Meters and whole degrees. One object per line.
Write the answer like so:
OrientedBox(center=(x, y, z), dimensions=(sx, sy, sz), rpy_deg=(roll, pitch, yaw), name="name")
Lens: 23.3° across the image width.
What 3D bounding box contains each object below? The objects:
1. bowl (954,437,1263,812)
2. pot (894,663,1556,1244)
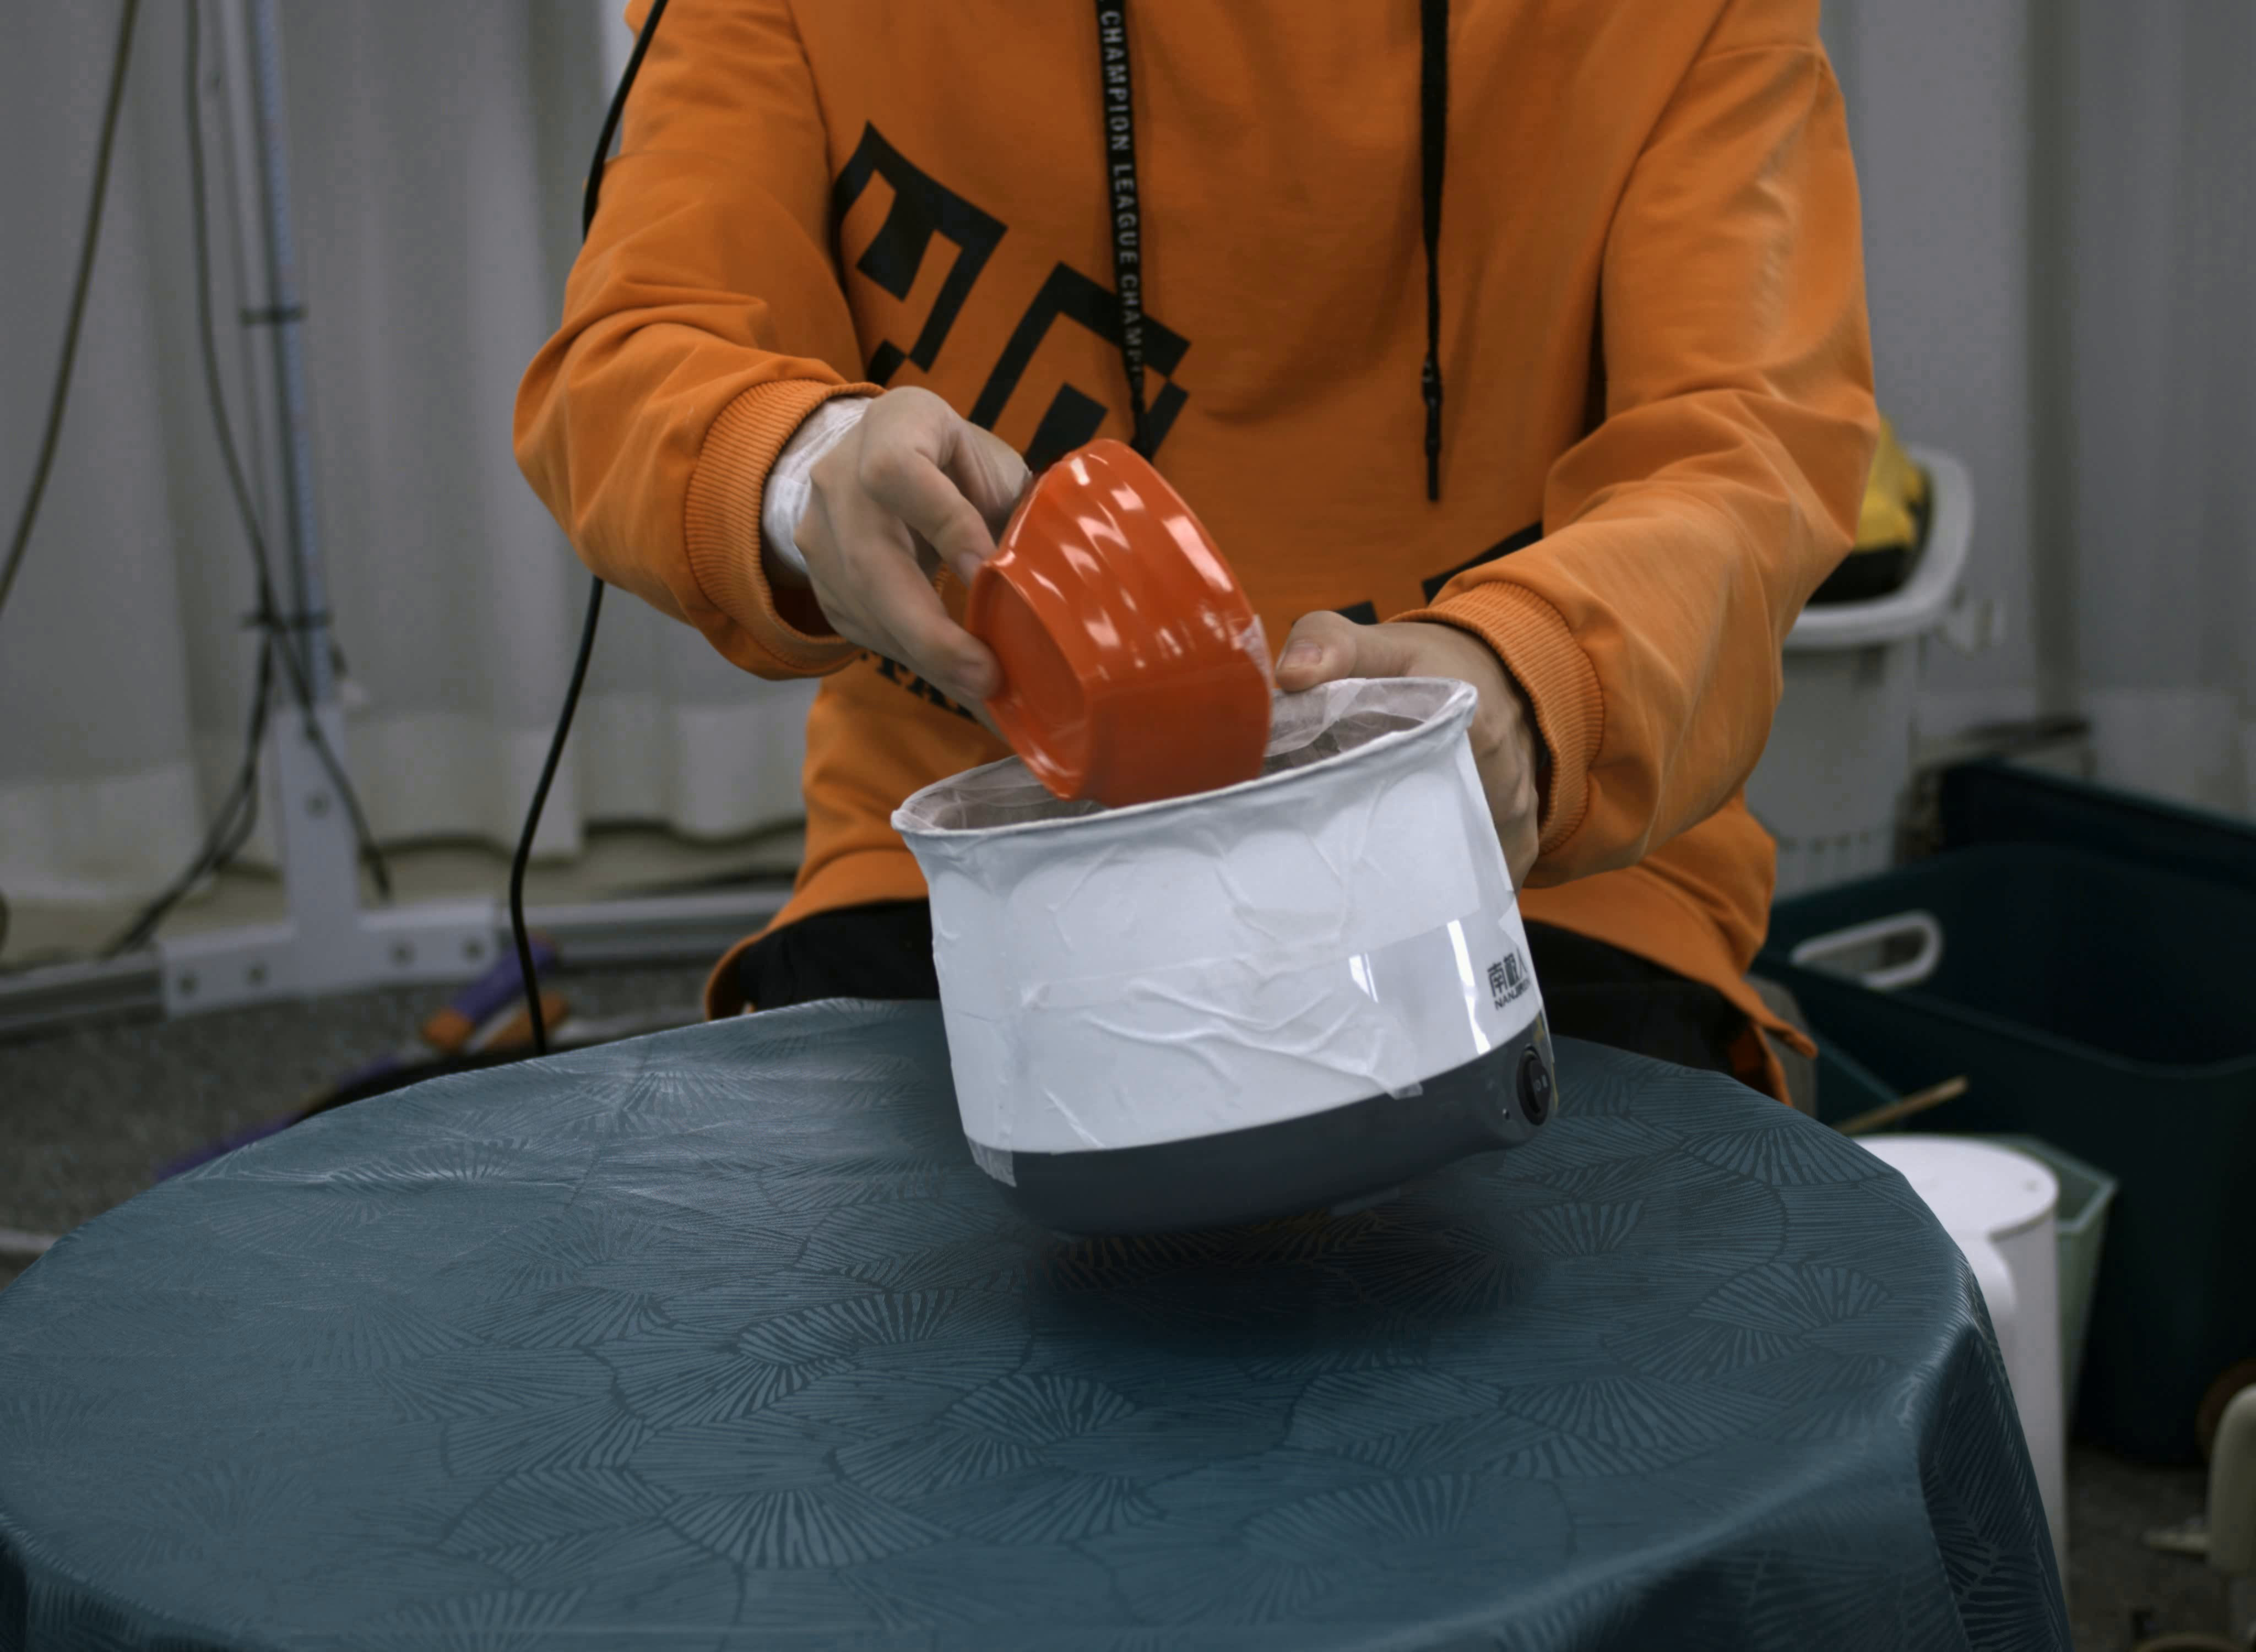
OrientedBox(center=(-0.012, -0.051, 1.617), dimensions=(0.051, 0.118, 0.120), rpy_deg=(-22, 22, -24), name="bowl")
OrientedBox(center=(0.040, 0.033, 1.647), dimensions=(0.178, 0.136, 0.234), rpy_deg=(-8, 10, 24), name="pot")
